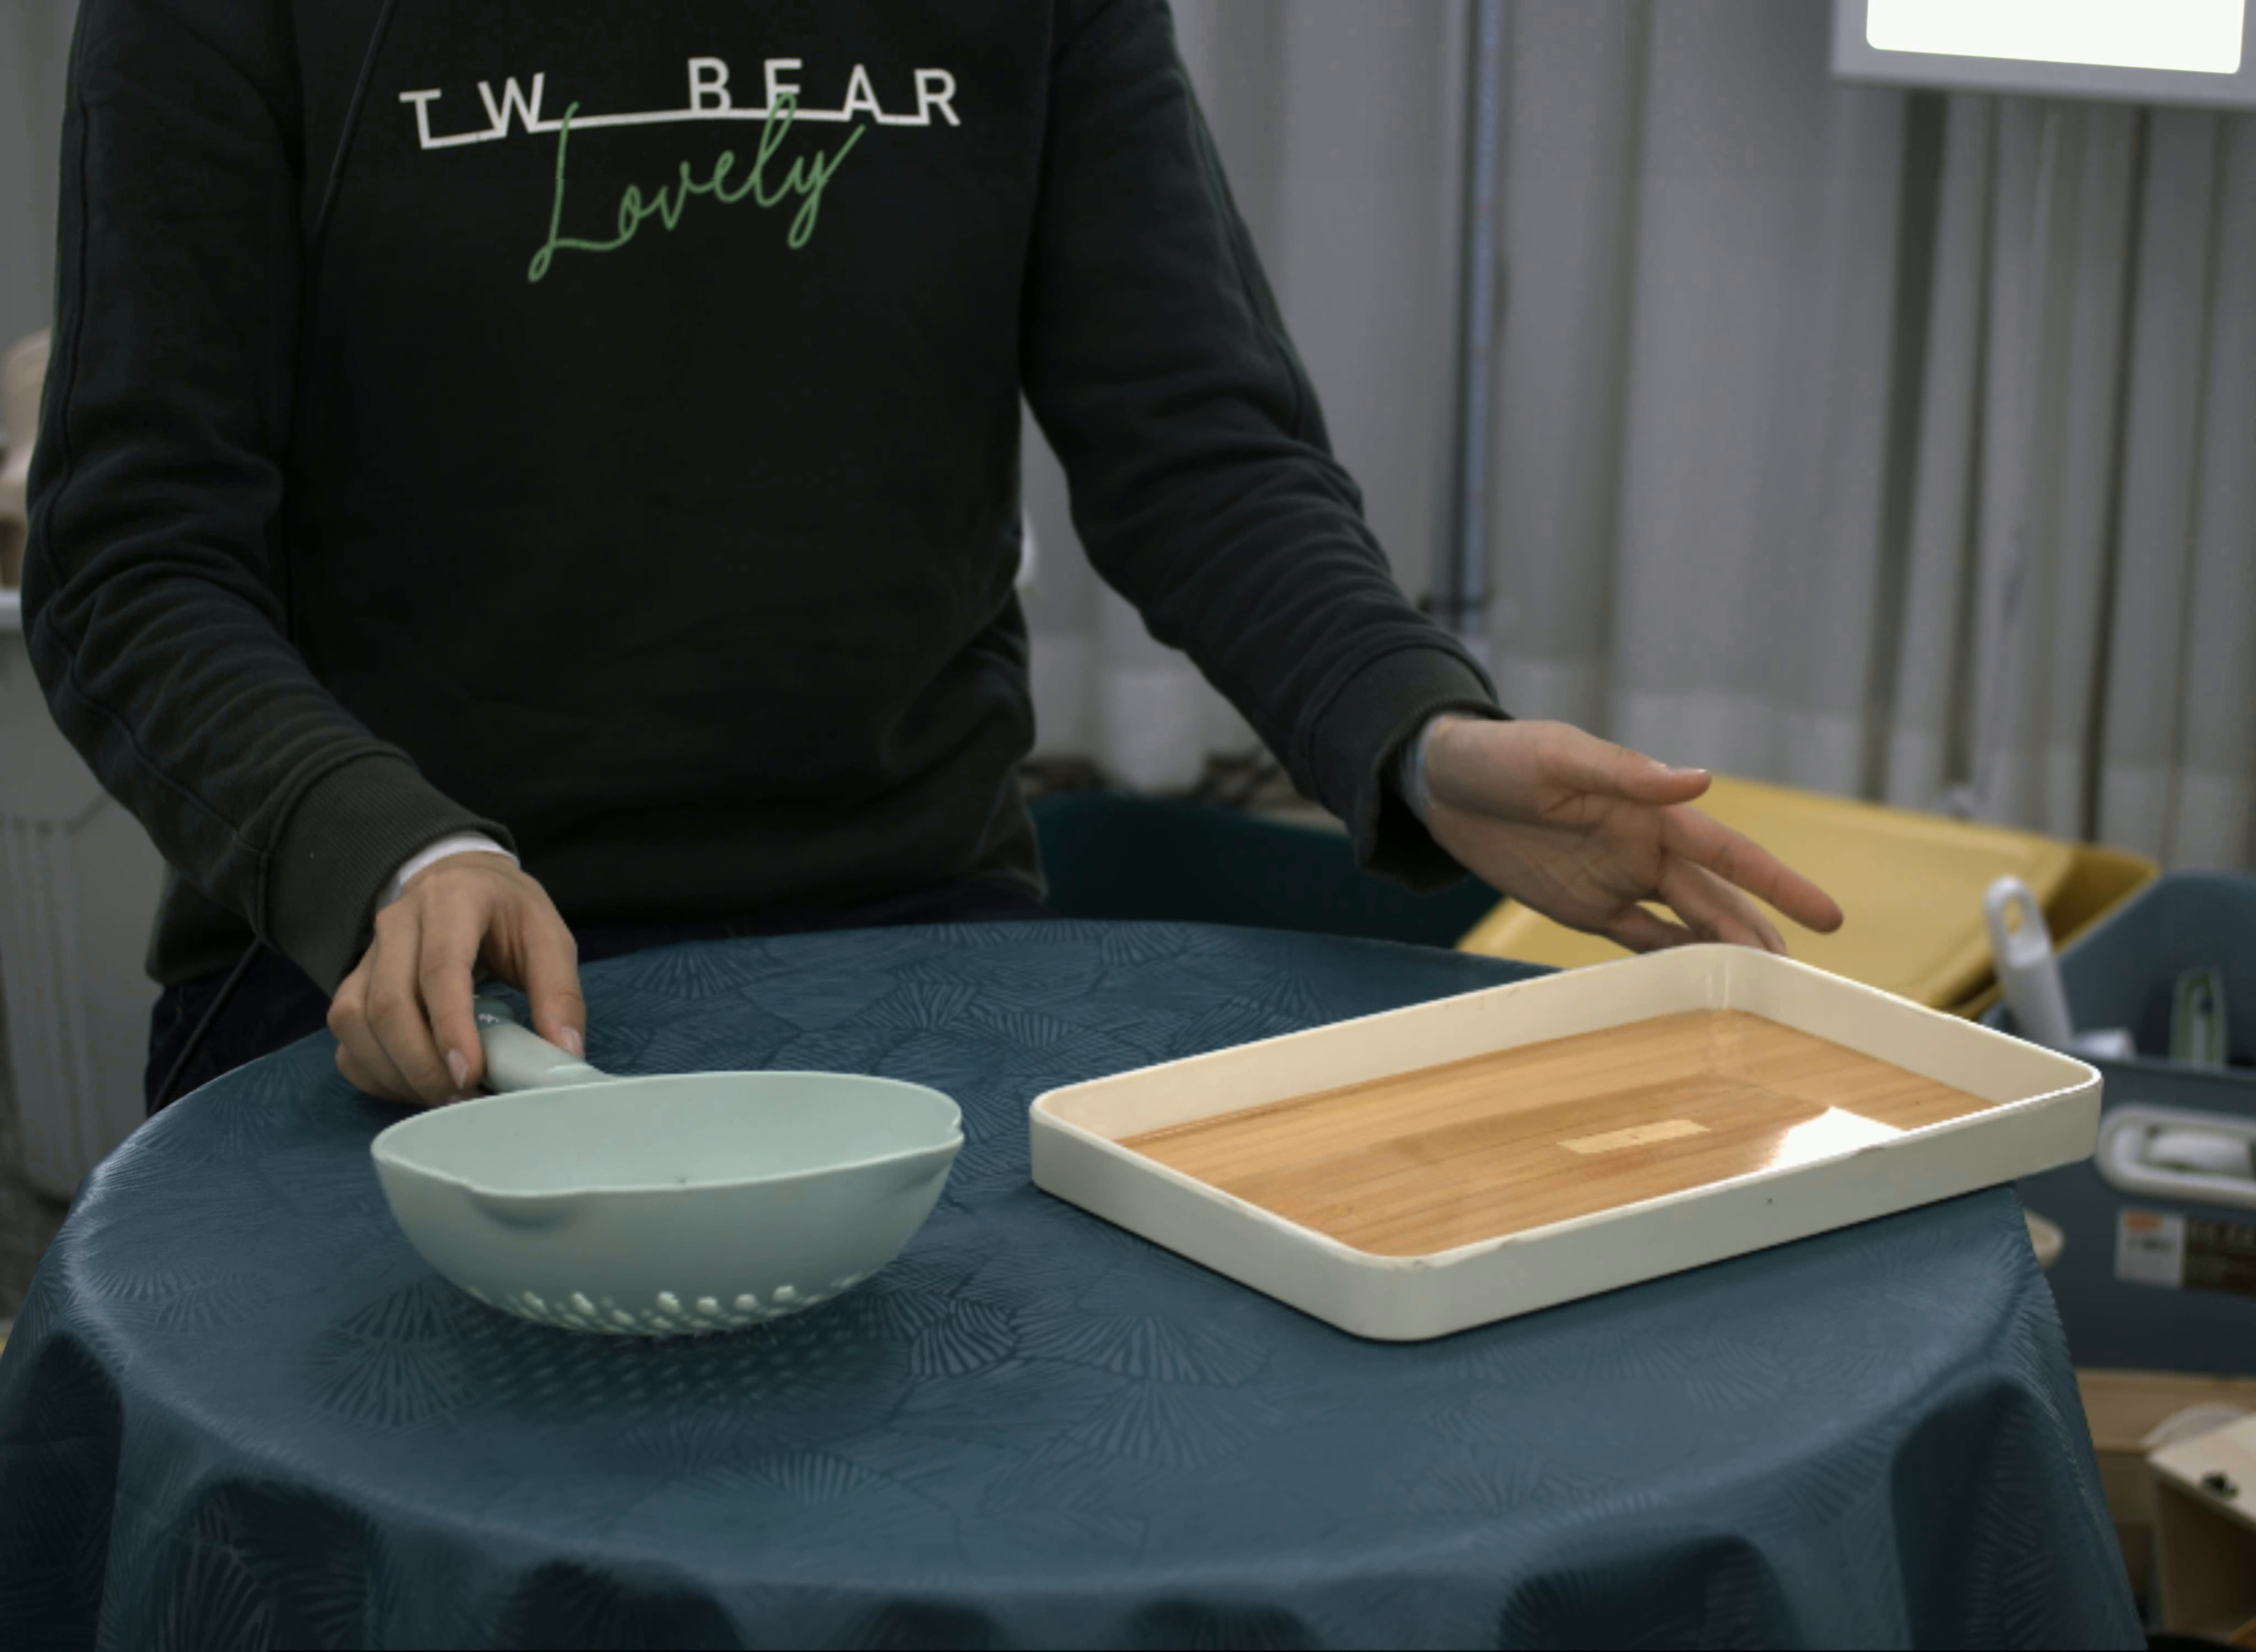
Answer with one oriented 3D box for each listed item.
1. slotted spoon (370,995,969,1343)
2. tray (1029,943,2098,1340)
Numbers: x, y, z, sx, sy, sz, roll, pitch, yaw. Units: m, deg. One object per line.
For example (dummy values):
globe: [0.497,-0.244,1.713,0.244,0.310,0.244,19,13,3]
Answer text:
slotted spoon: [-0.164,0.087,1.591,0.170,0.076,0.355,-5,17,-20]
tray: [0.138,0.094,1.649,0.302,0.027,0.189,-10,20,-35]
